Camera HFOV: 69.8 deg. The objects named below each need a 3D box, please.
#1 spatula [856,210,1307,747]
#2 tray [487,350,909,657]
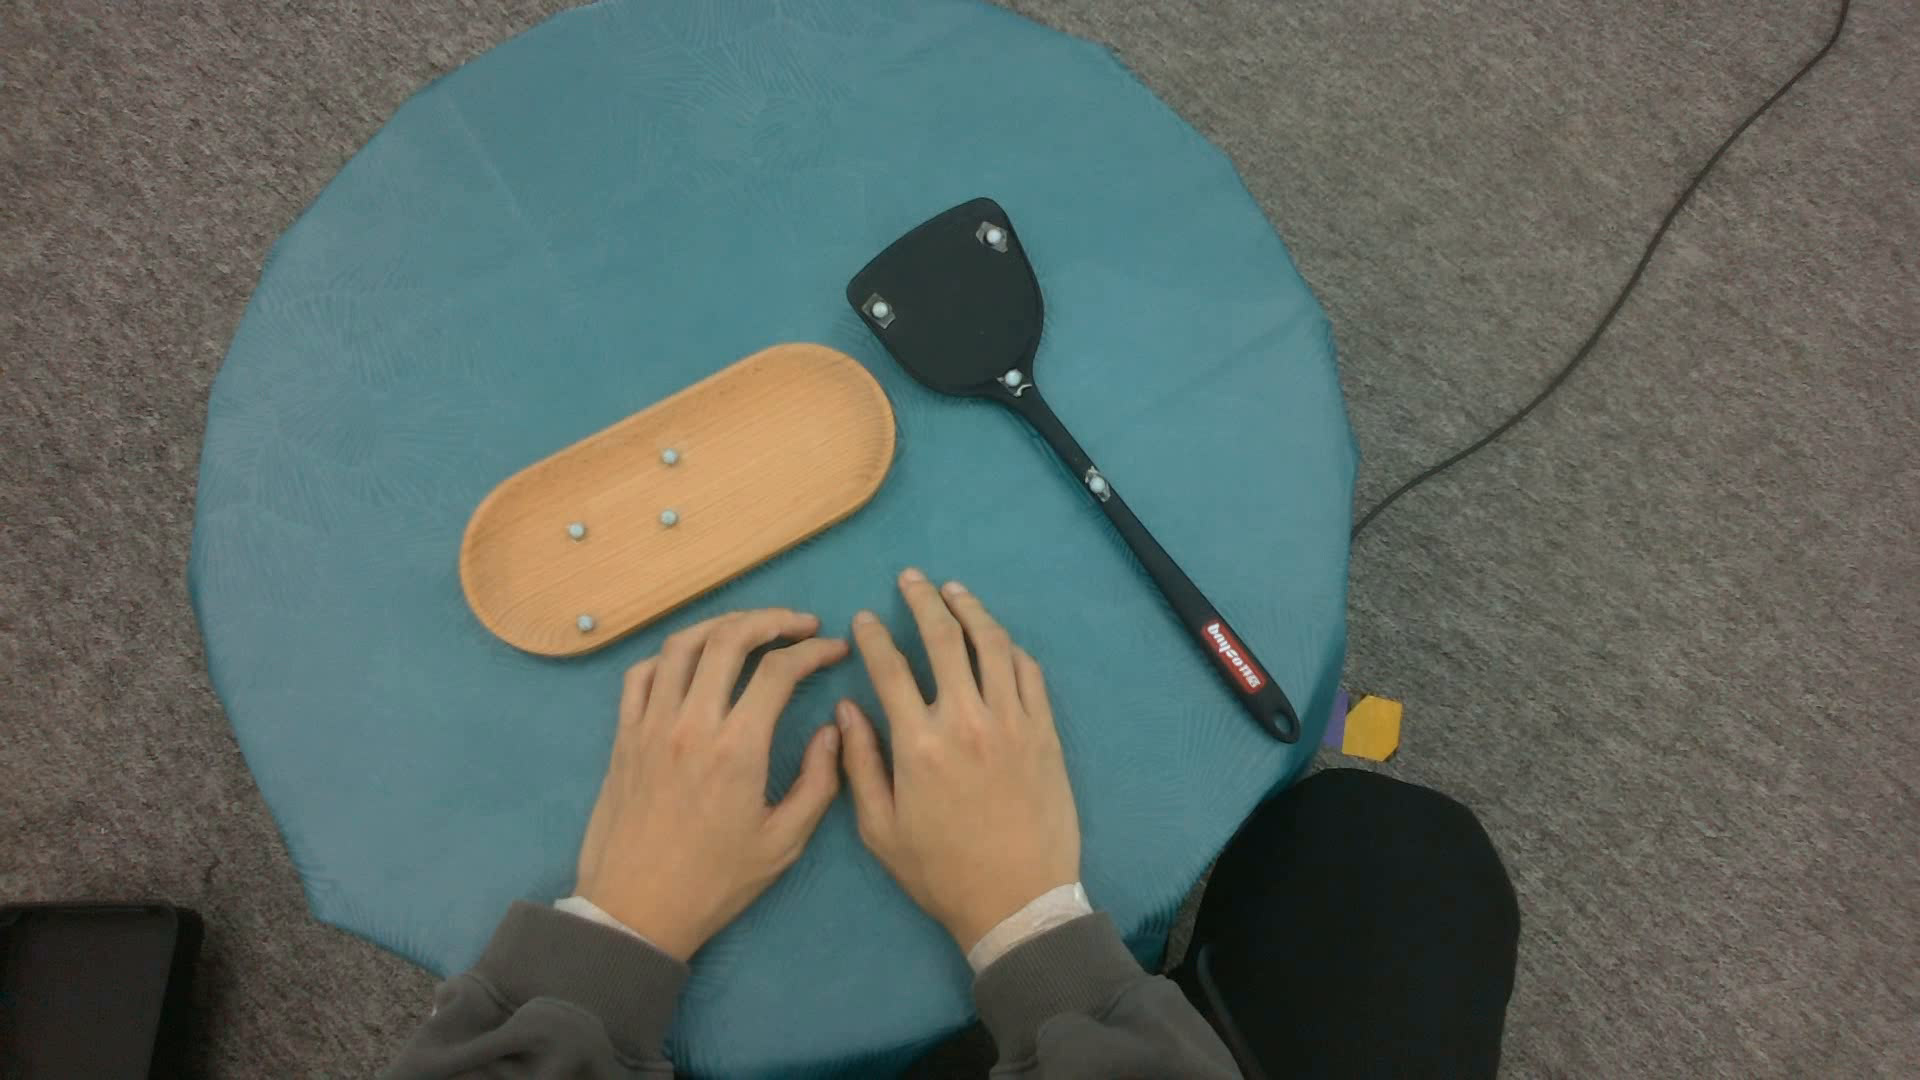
[{"bbox_3d":[0.075,-0.027,0.713,0.100,0.040,0.326,-35,77,-9],"label":"spatula"},{"bbox_3d":[-0.134,-0.020,0.718,0.231,0.020,0.102,-29,76,-10],"label":"tray"}]
